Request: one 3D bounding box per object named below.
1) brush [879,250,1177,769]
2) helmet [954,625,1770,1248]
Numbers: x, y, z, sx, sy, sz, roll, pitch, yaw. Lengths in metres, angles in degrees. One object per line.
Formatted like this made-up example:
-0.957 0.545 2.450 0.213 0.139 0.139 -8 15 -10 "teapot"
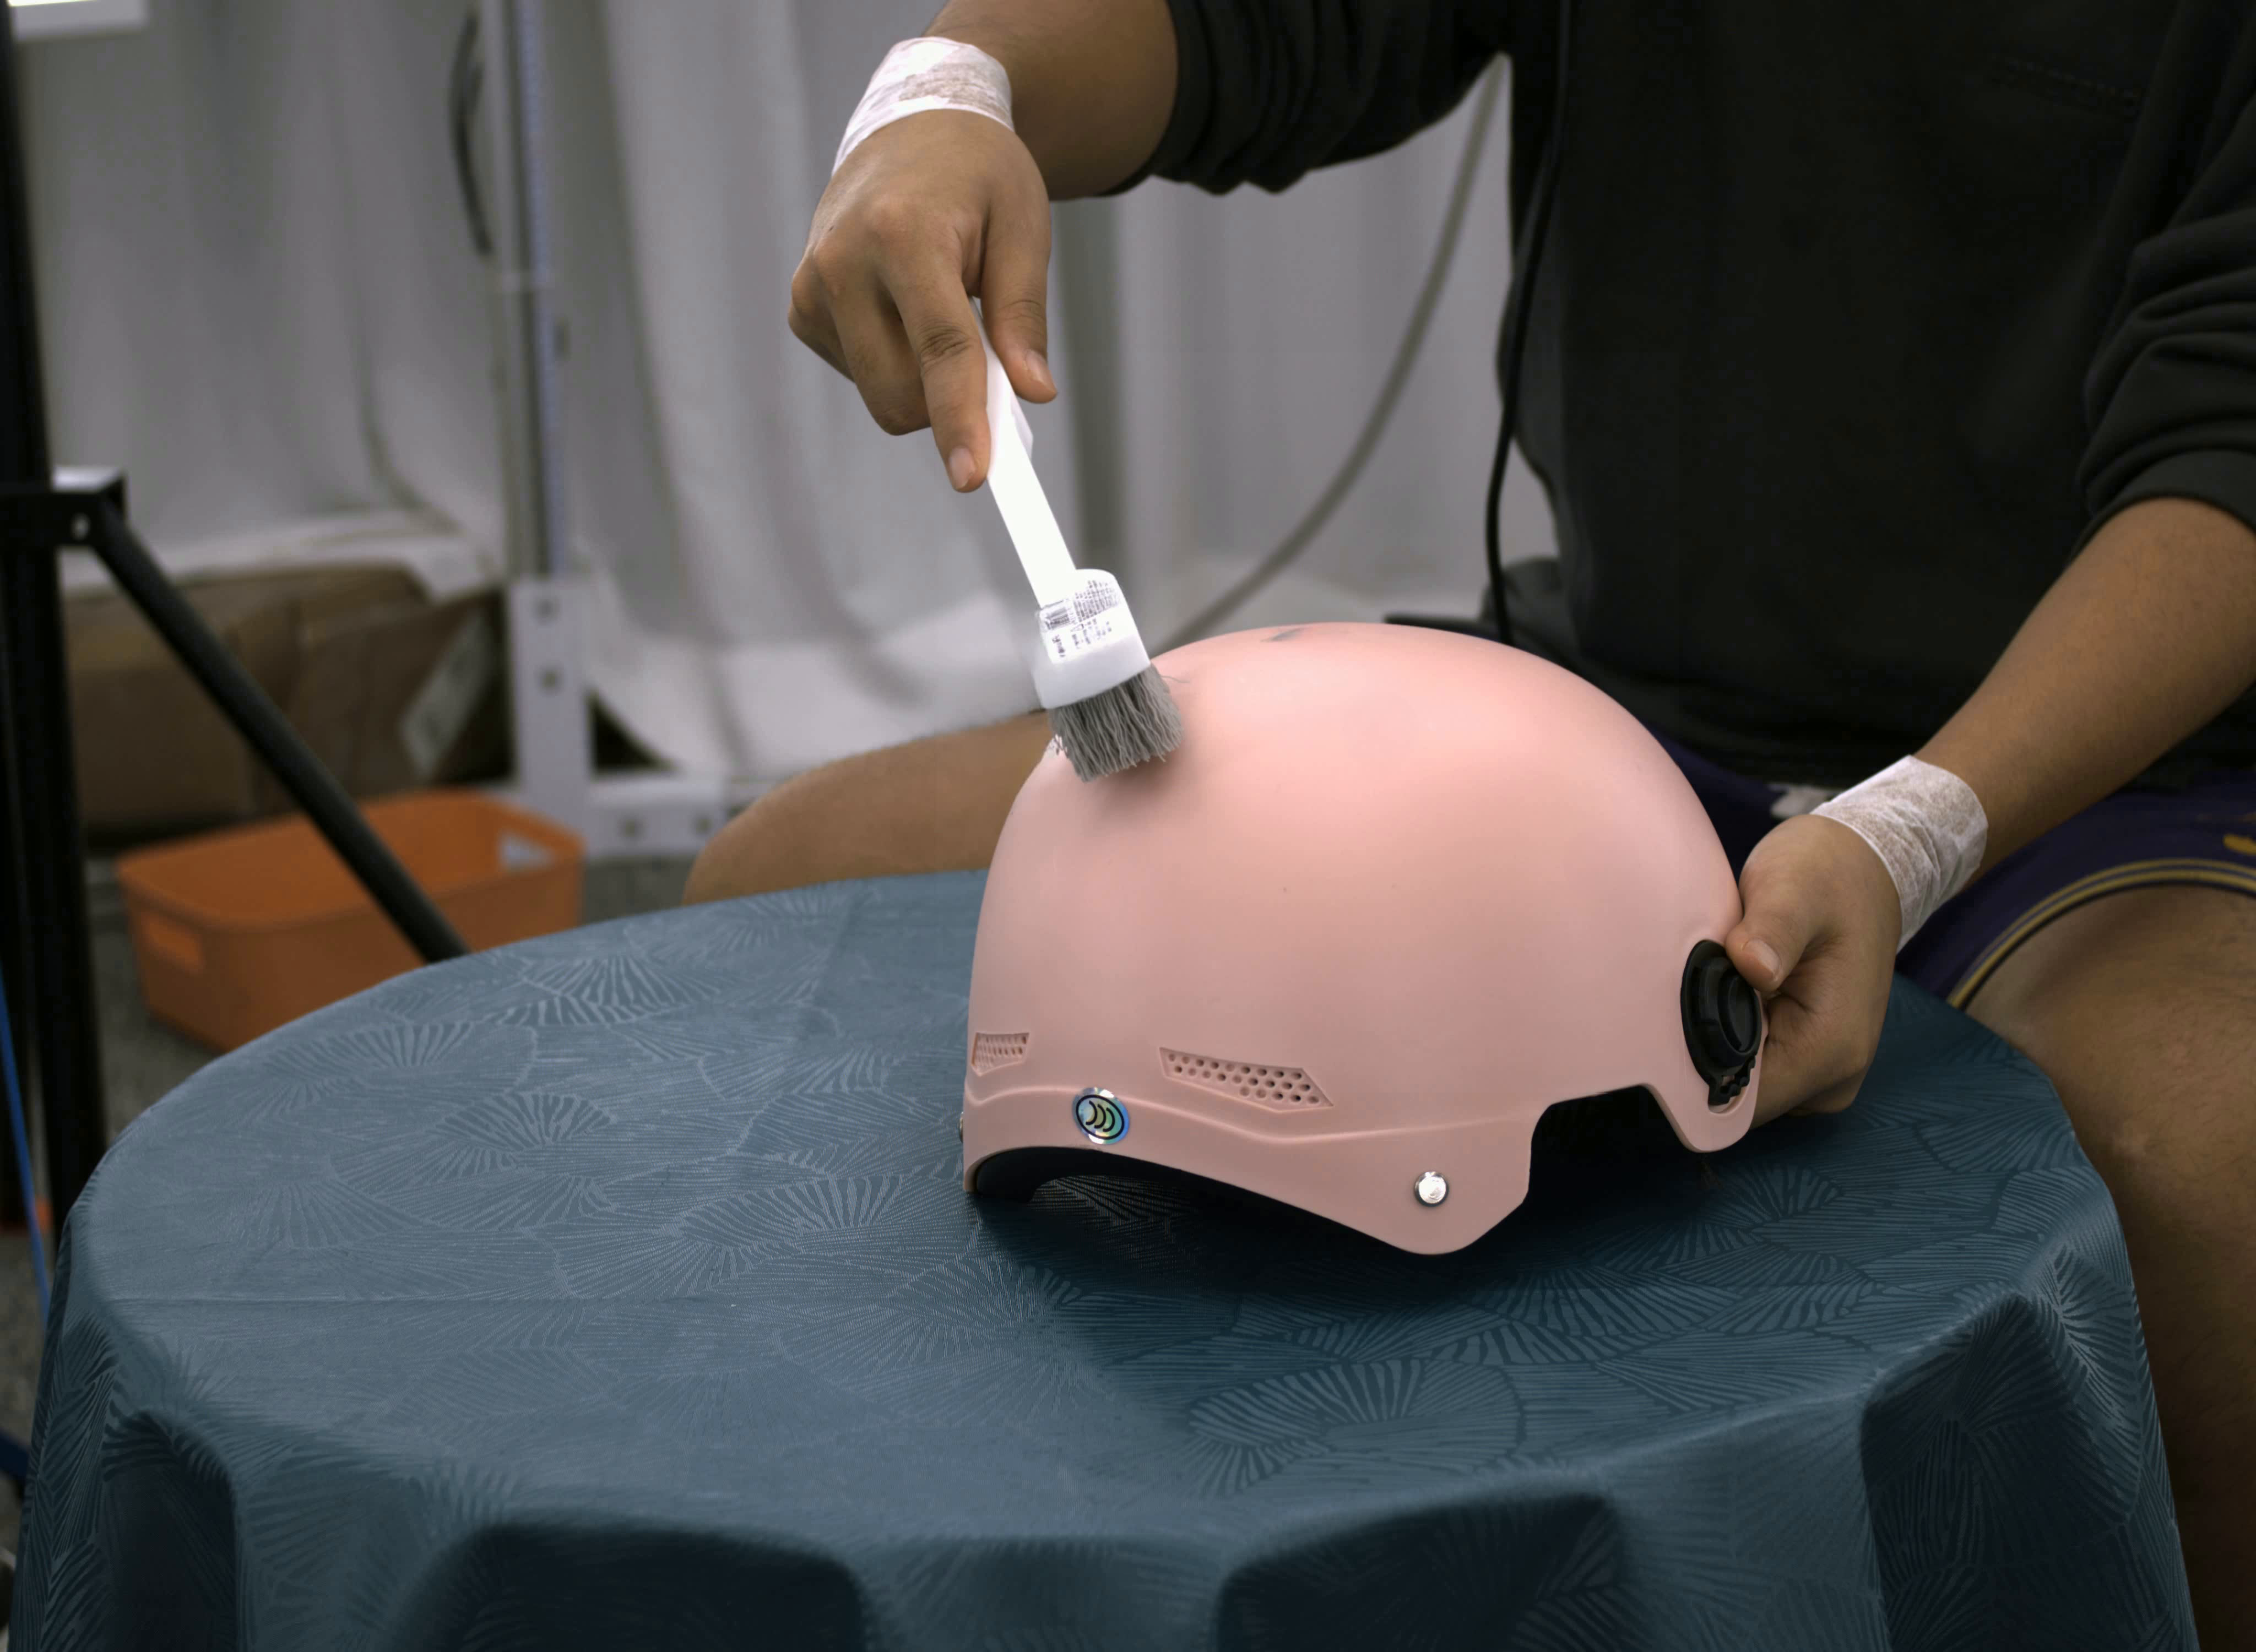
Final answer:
-0.031 -0.093 1.560 0.034 0.049 0.248 -23 37 -1 "brush"
0.069 0.019 1.562 0.239 0.159 0.260 4 12 40 "helmet"
